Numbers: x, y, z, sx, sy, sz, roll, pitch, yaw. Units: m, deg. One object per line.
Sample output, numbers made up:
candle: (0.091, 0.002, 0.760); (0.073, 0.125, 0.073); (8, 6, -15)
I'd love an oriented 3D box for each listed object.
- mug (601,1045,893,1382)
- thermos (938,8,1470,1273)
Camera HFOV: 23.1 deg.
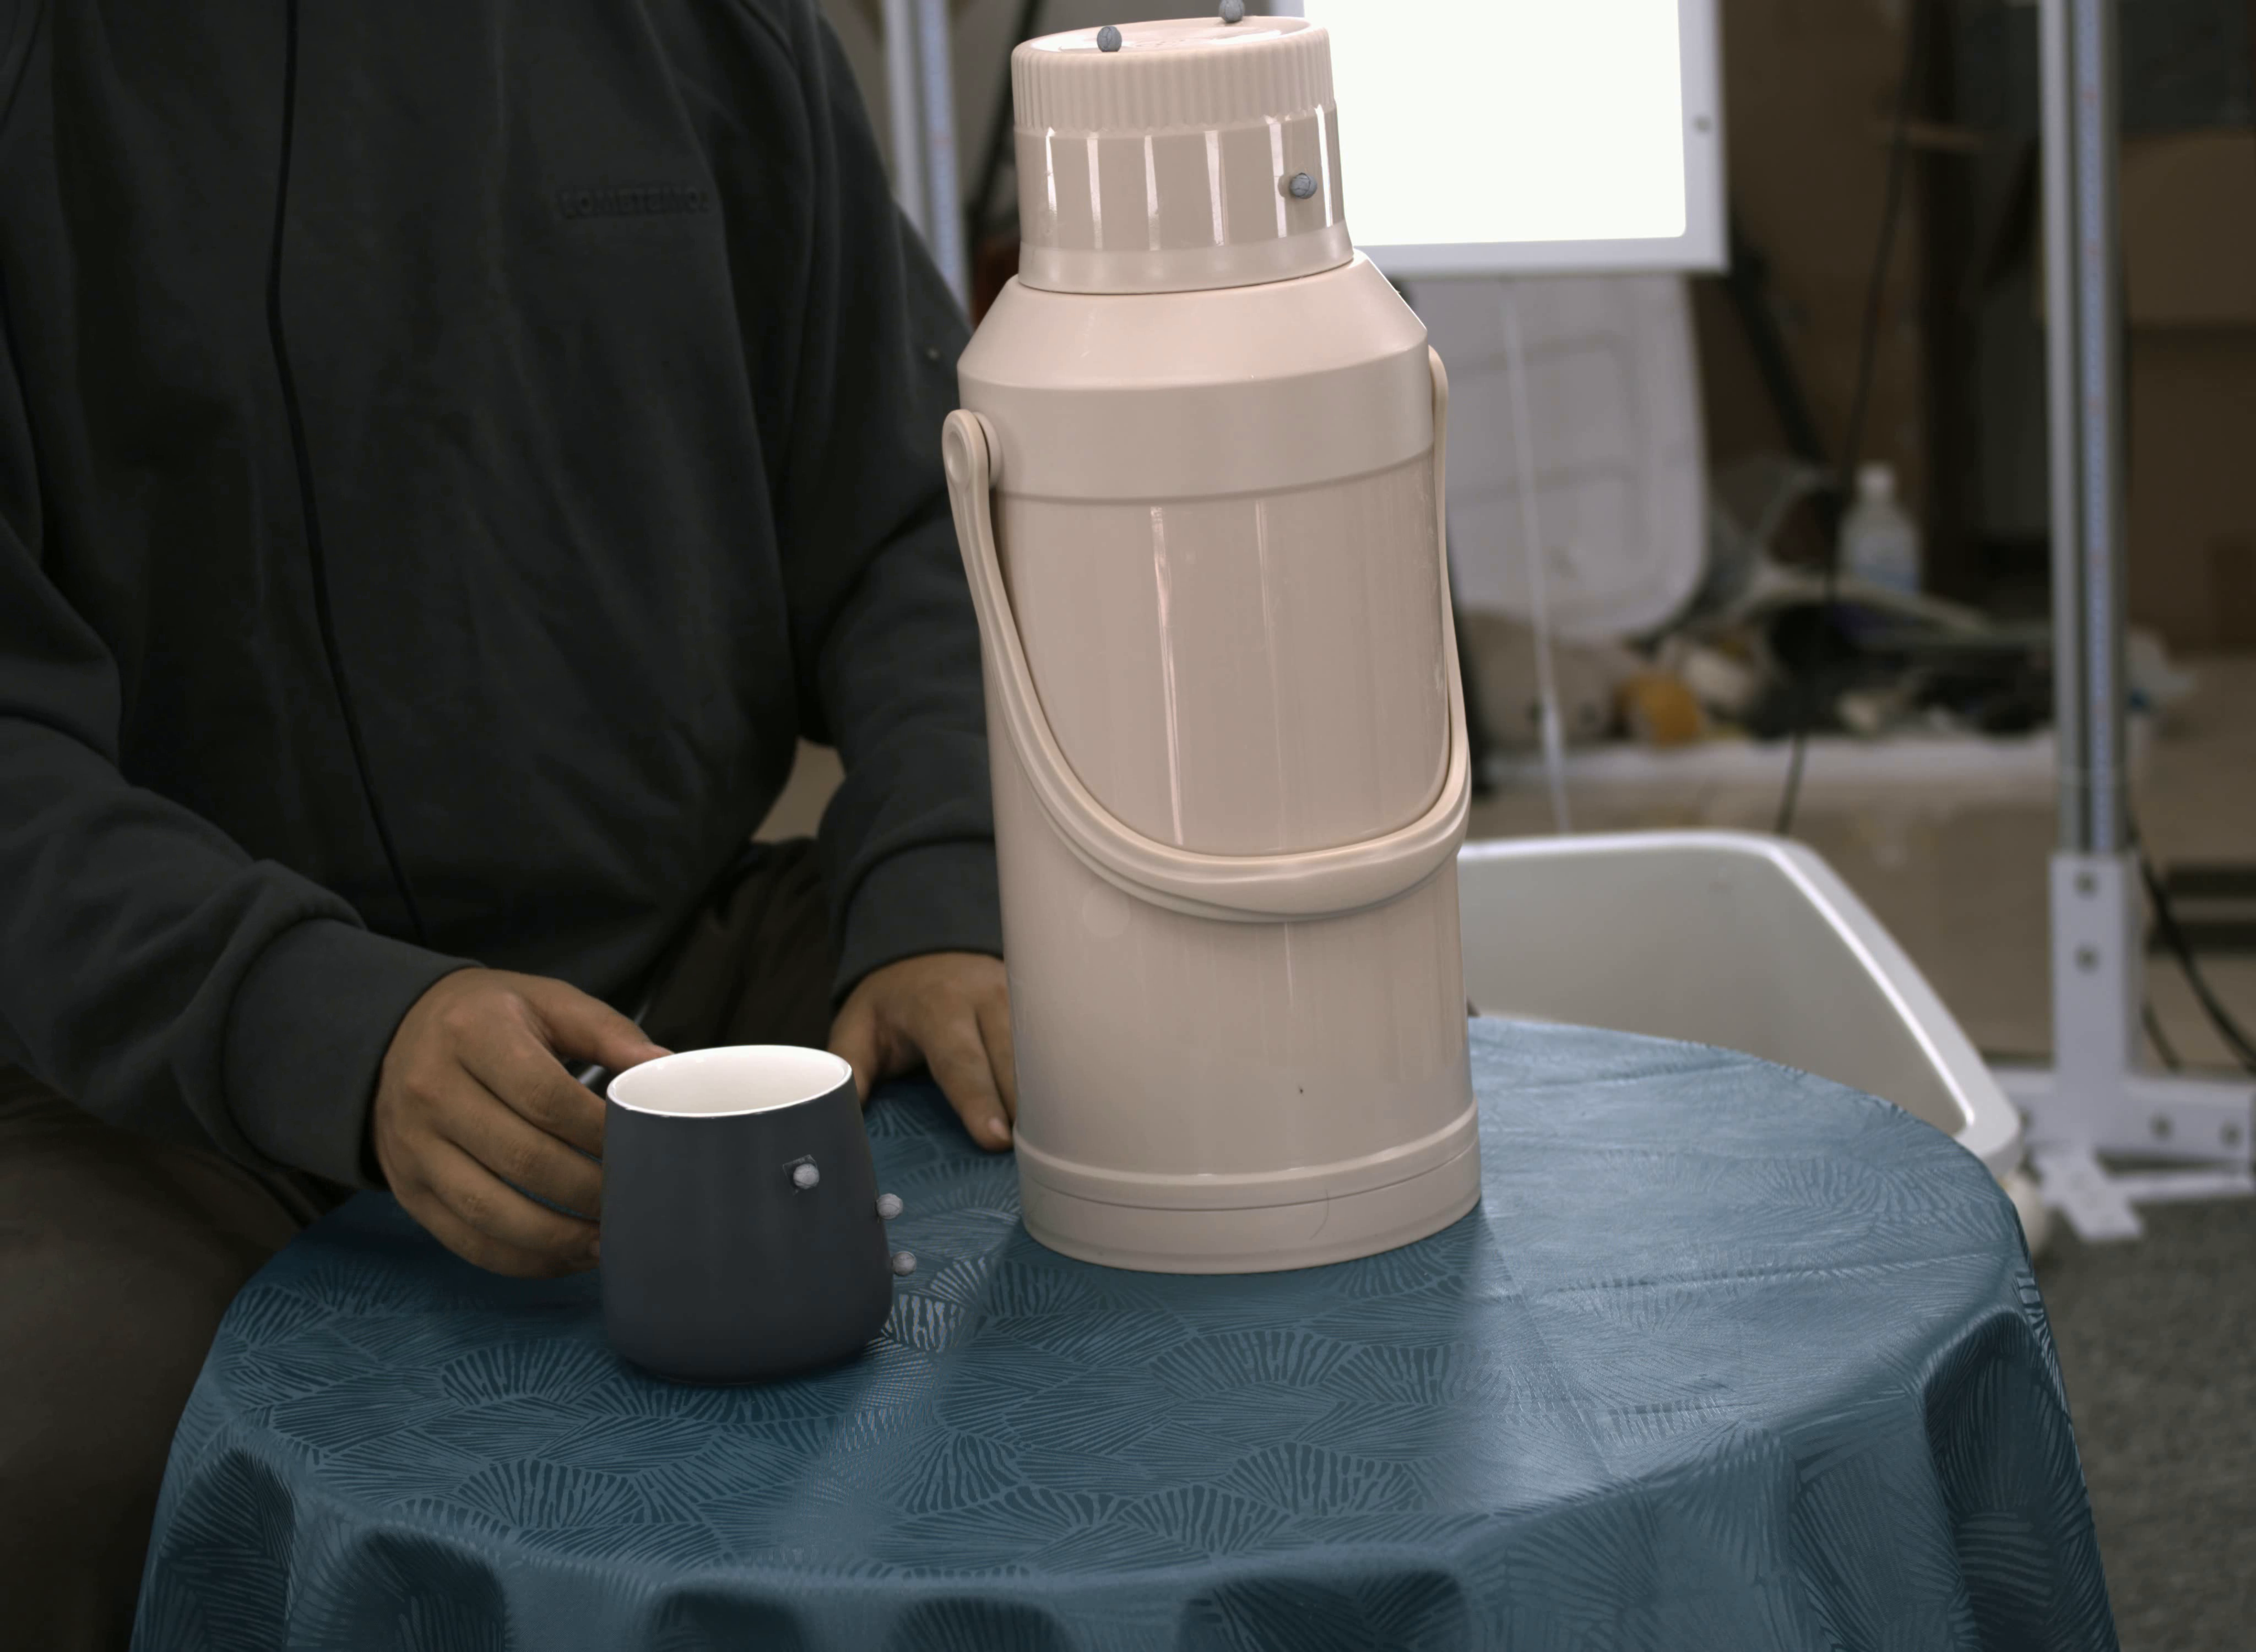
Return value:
mug: (-0.131, 0.121, 1.774); (0.091, 0.090, 0.125); (-12, 15, -30)
thermos: (0.021, -0.067, 1.843); (0.172, 0.408, 0.210); (-11, 15, -23)
